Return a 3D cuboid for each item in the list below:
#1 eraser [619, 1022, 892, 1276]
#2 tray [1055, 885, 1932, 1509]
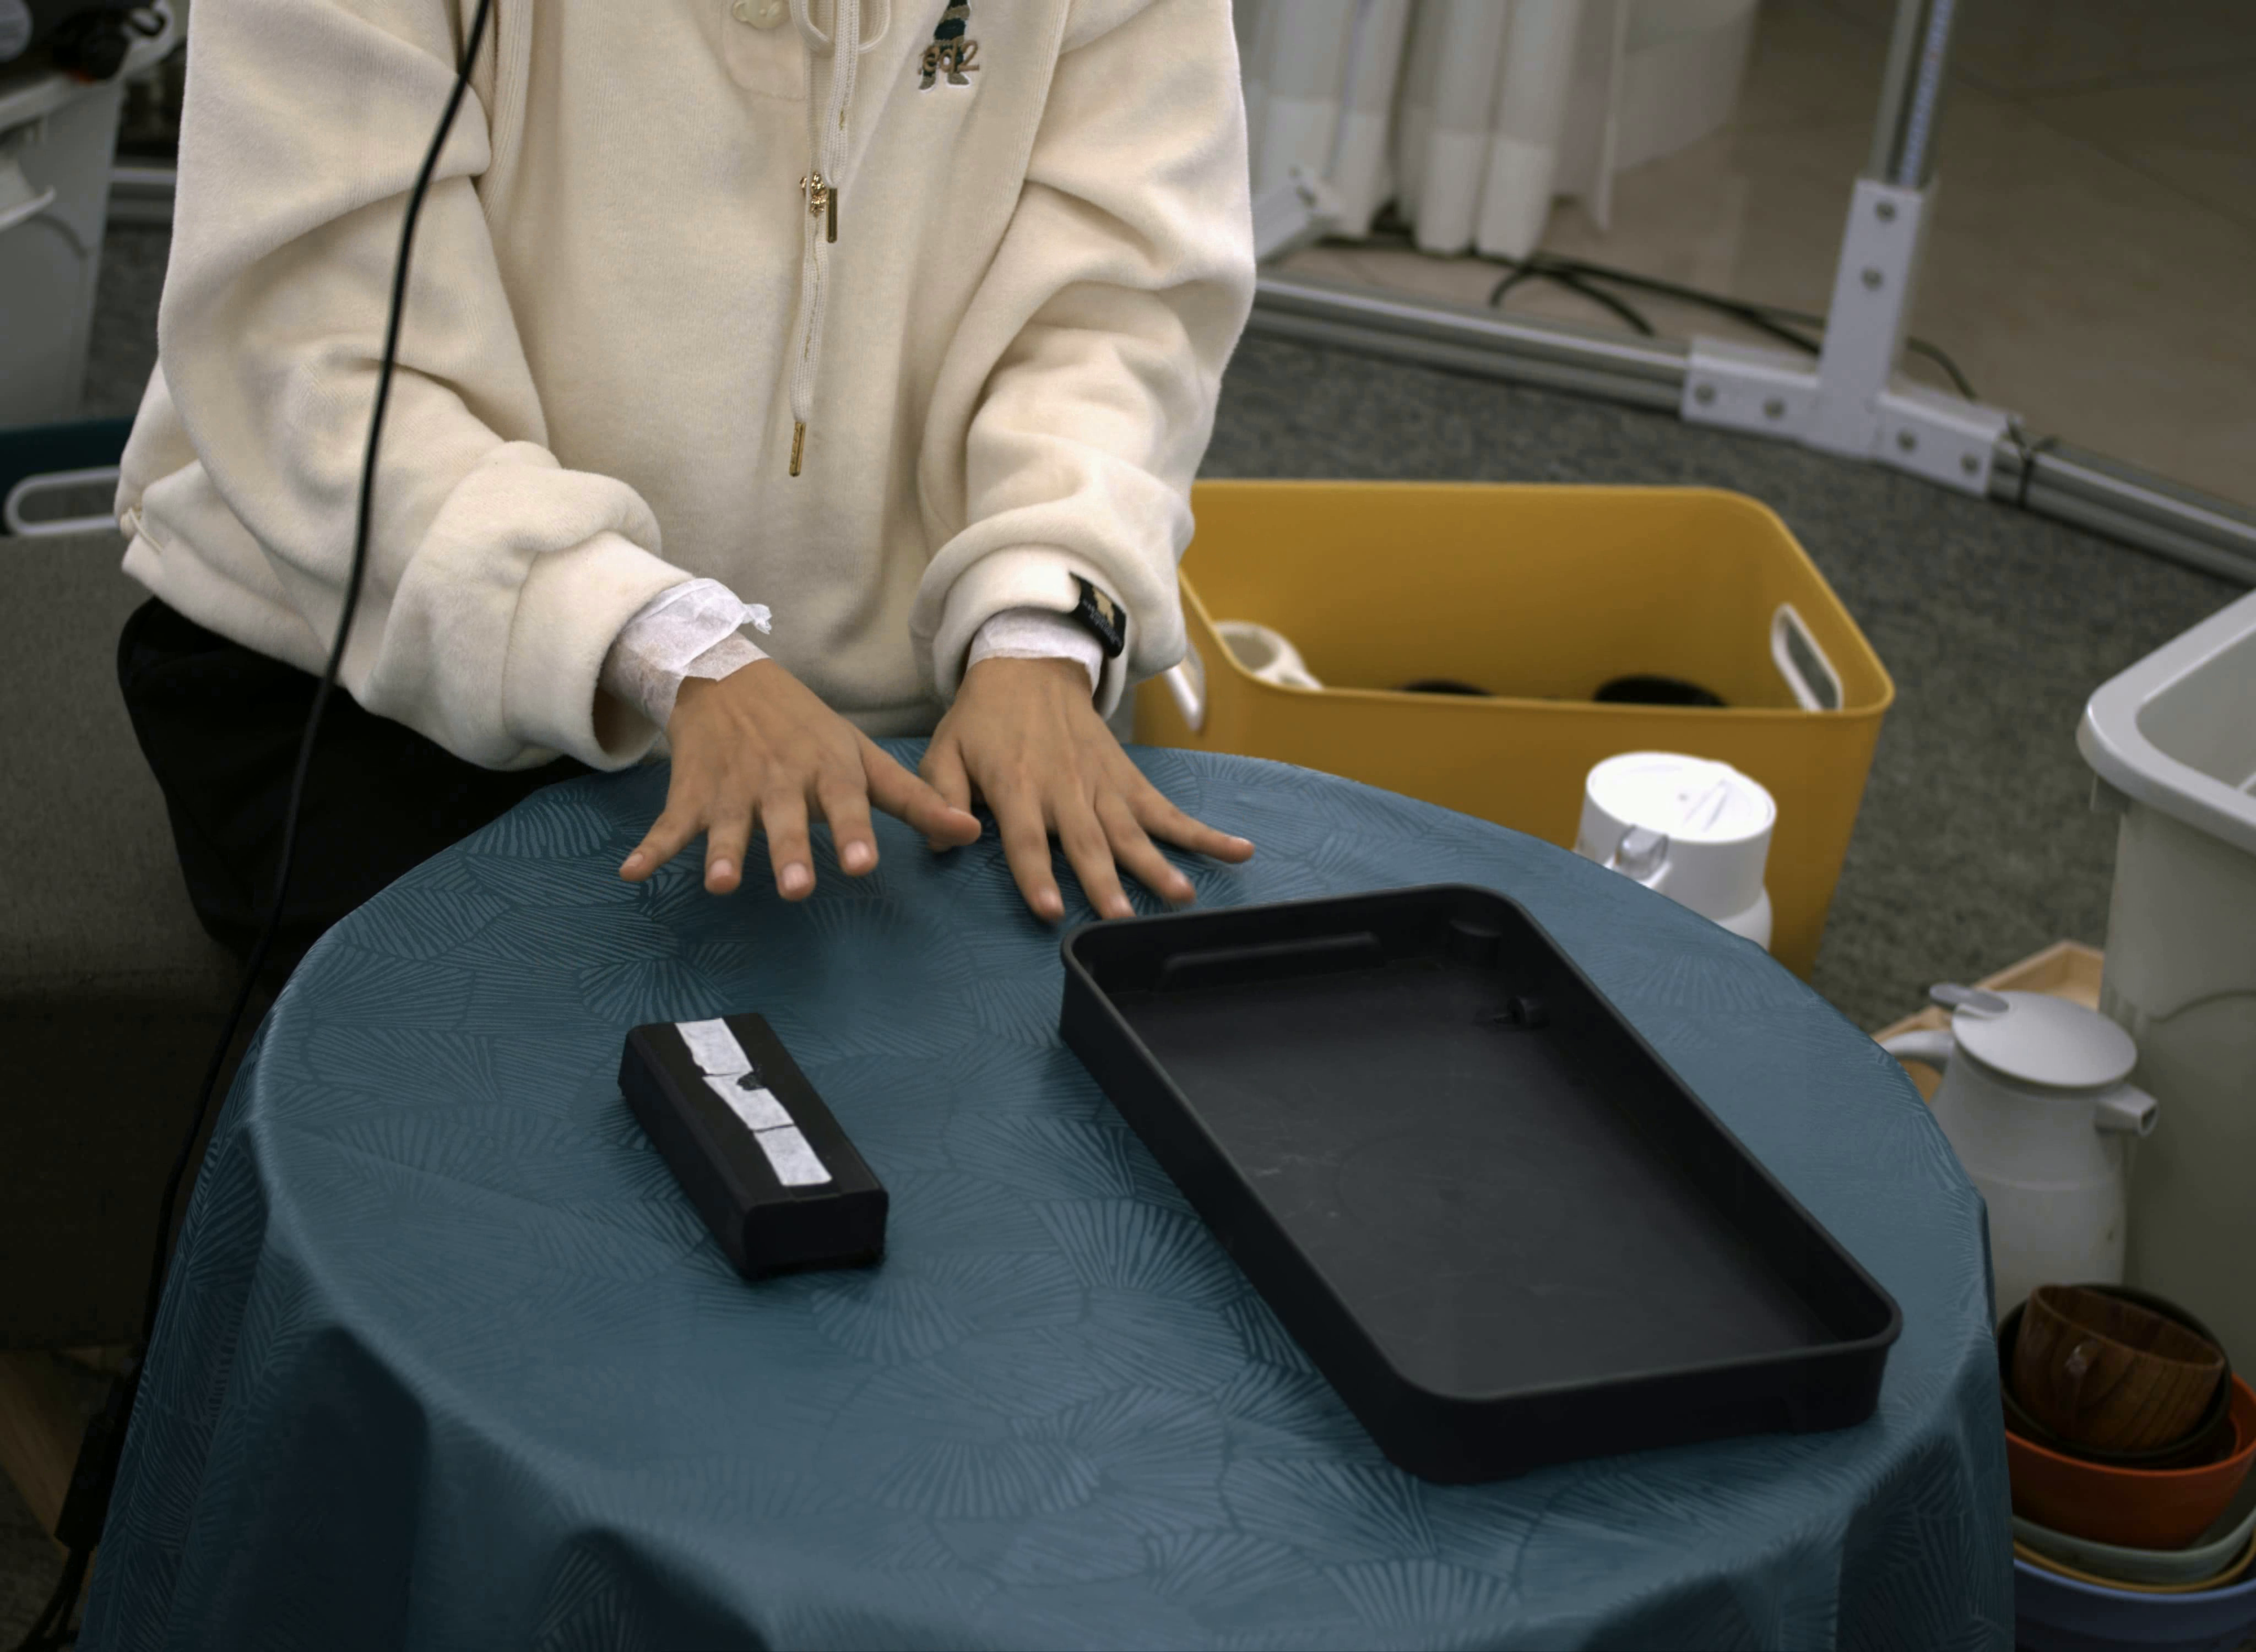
[{"bbox_3d":[-0.125,0.107,1.776,0.053,0.030,0.126,-2,27,-25],"label":"eraser"},{"bbox_3d":[0.115,0.118,1.797,0.183,0.037,0.321,-7,30,-25],"label":"tray"}]
